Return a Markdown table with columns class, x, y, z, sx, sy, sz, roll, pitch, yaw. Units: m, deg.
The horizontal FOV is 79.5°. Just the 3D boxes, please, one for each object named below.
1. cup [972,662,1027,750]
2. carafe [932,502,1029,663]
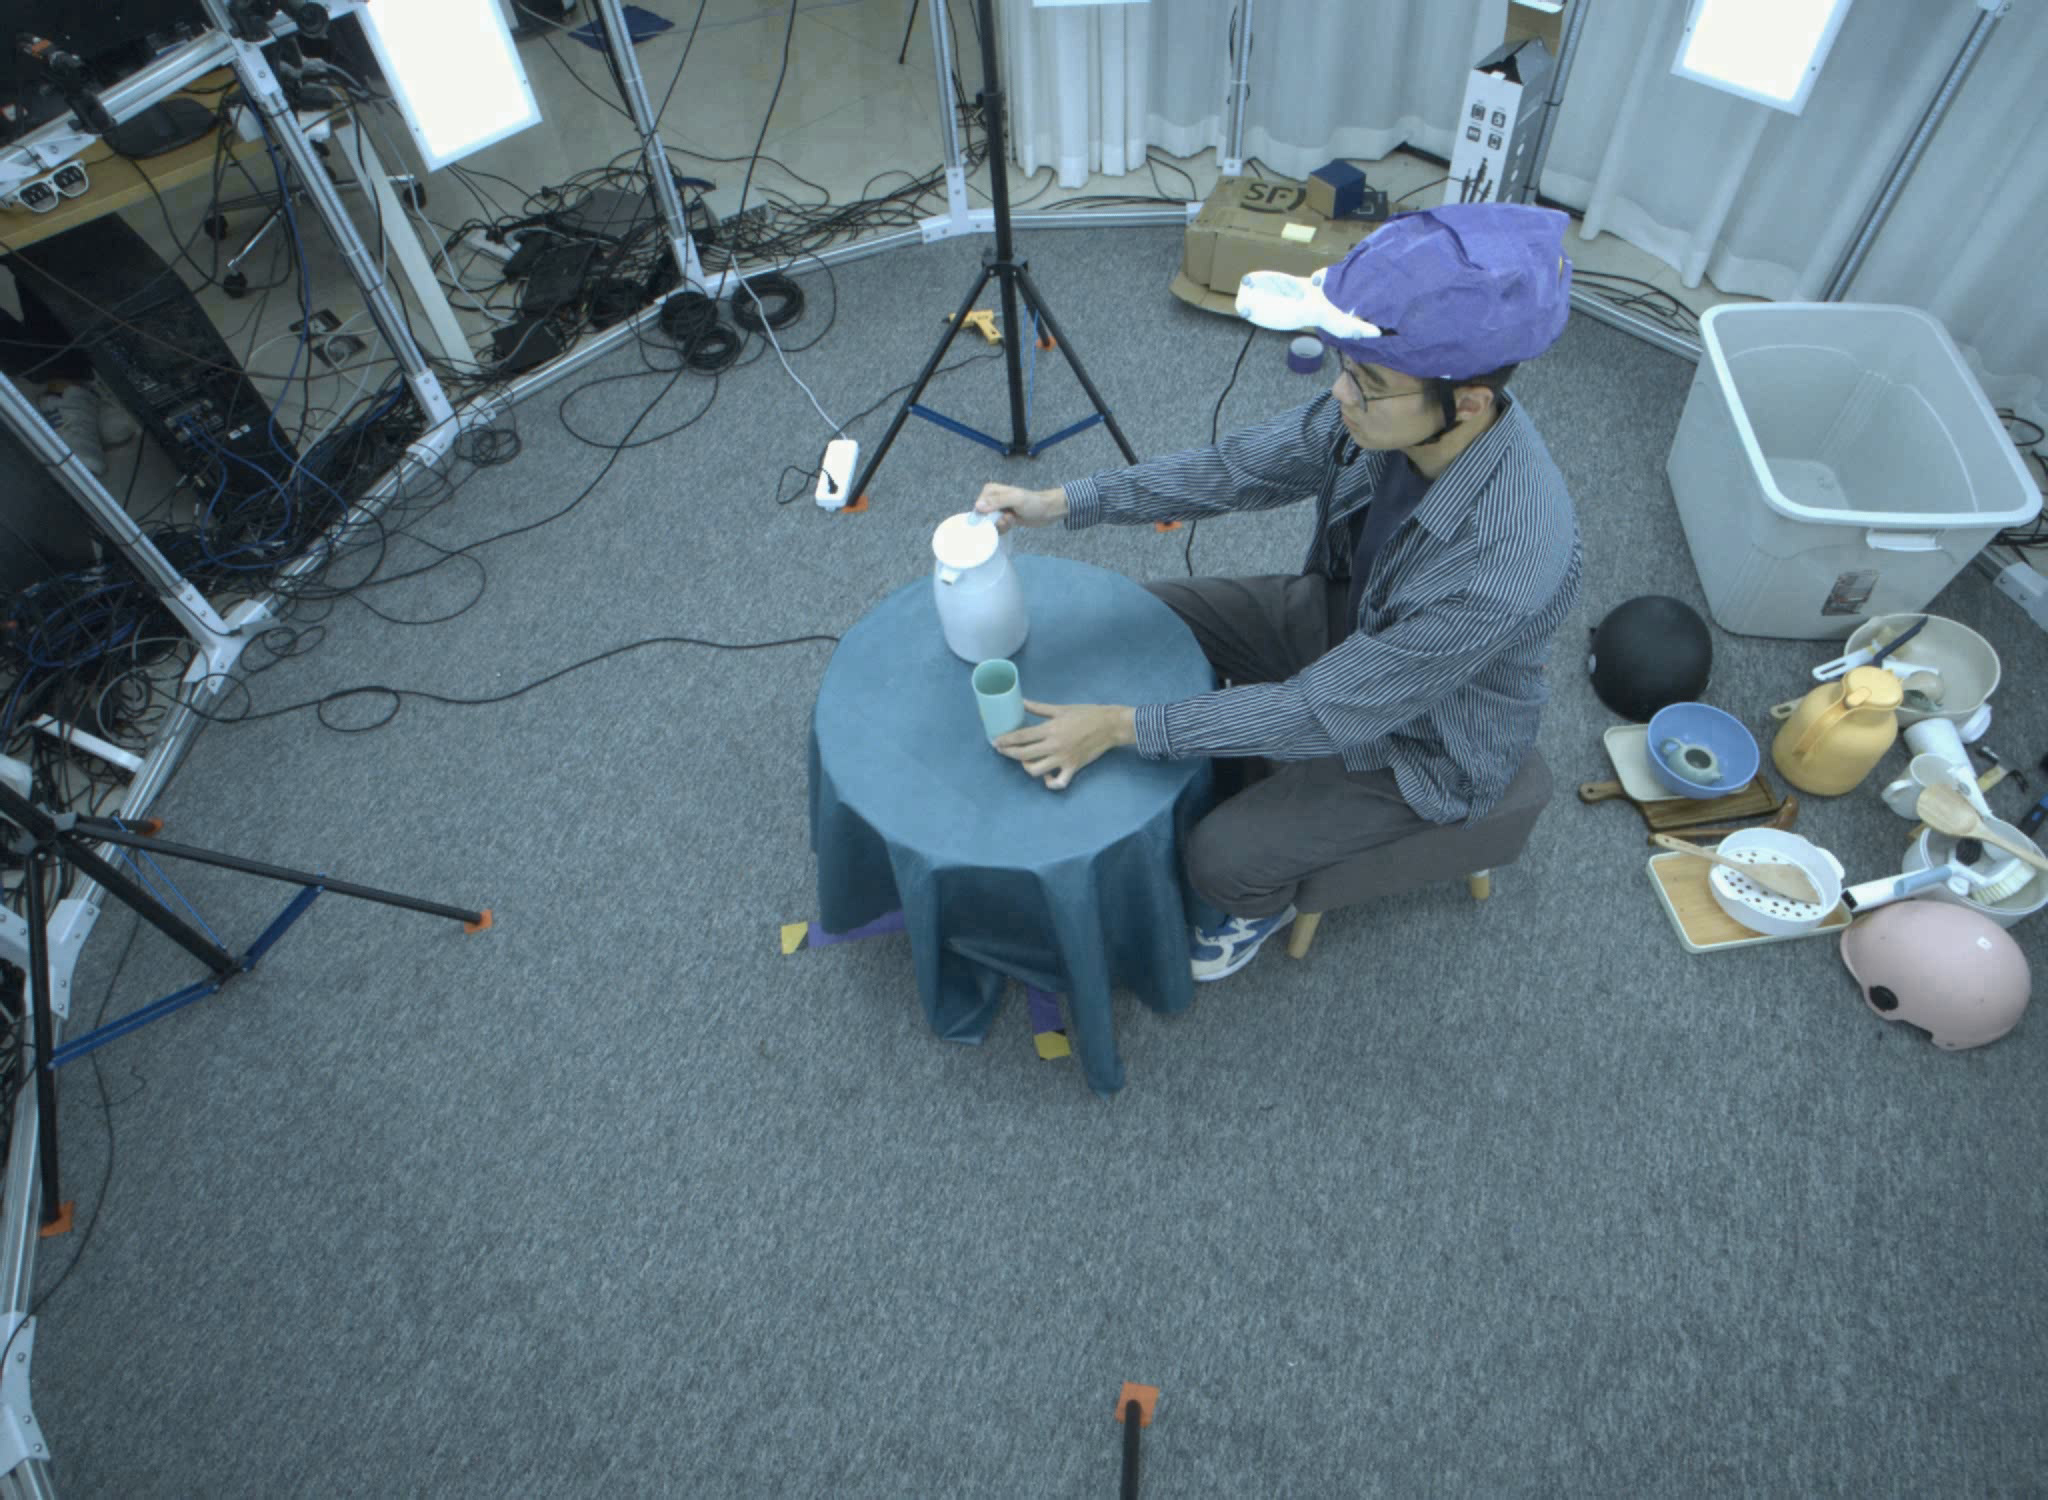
| class | x | y | z | sx | sy | sz | roll | pitch | yaw |
| --- | --- | --- | --- | --- | --- | --- | --- | --- | --- |
| cup | -0.032 | -0.062 | 1.743 | 0.066 | 0.134 | 0.066 | -3 | 57 | 5 |
| carafe | -0.065 | -0.260 | 1.796 | 0.131 | 0.251 | 0.167 | 19 | 68 | 14 |
